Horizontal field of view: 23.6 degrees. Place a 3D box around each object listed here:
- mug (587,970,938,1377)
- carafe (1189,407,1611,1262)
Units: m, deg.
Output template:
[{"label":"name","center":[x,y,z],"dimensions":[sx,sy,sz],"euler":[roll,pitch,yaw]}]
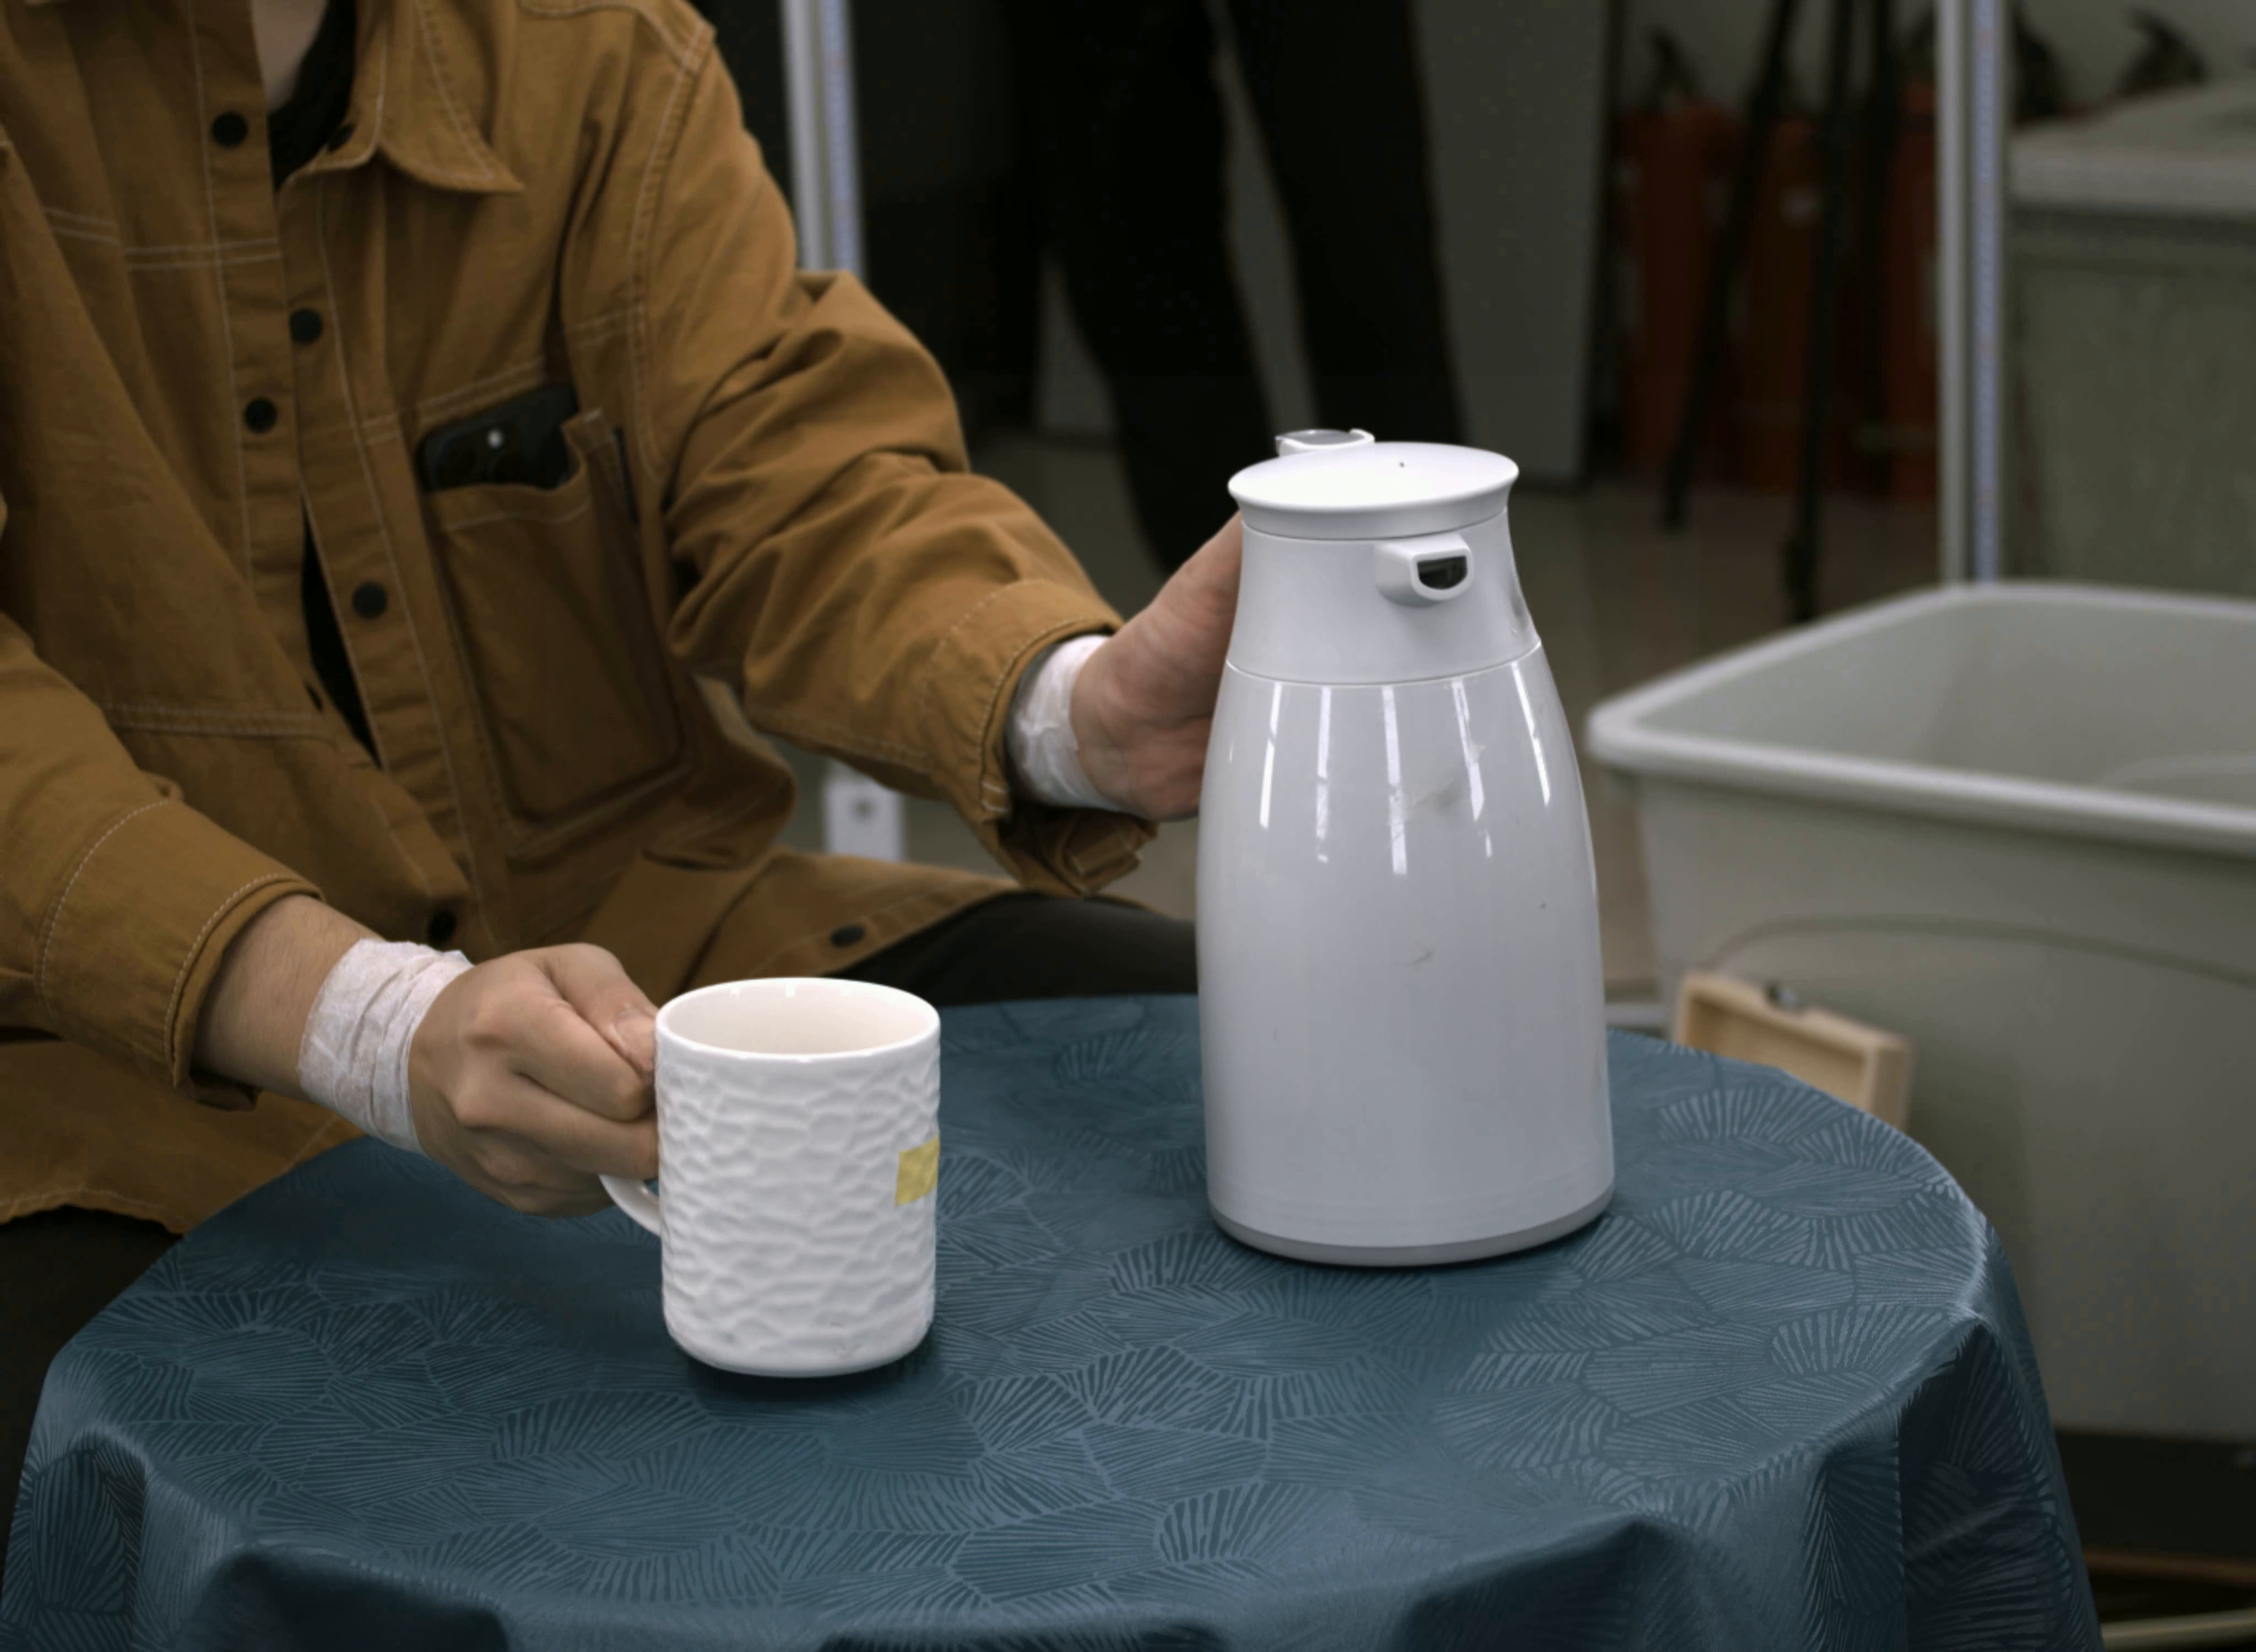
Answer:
[{"label":"mug","center":[-0.113,0.102,1.628],"dimensions":[0.119,0.103,0.083],"euler":[8,16,31]},{"label":"carafe","center":[0.074,-0.005,1.722],"dimensions":[0.130,0.251,0.169],"euler":[-9,14,-16]}]
